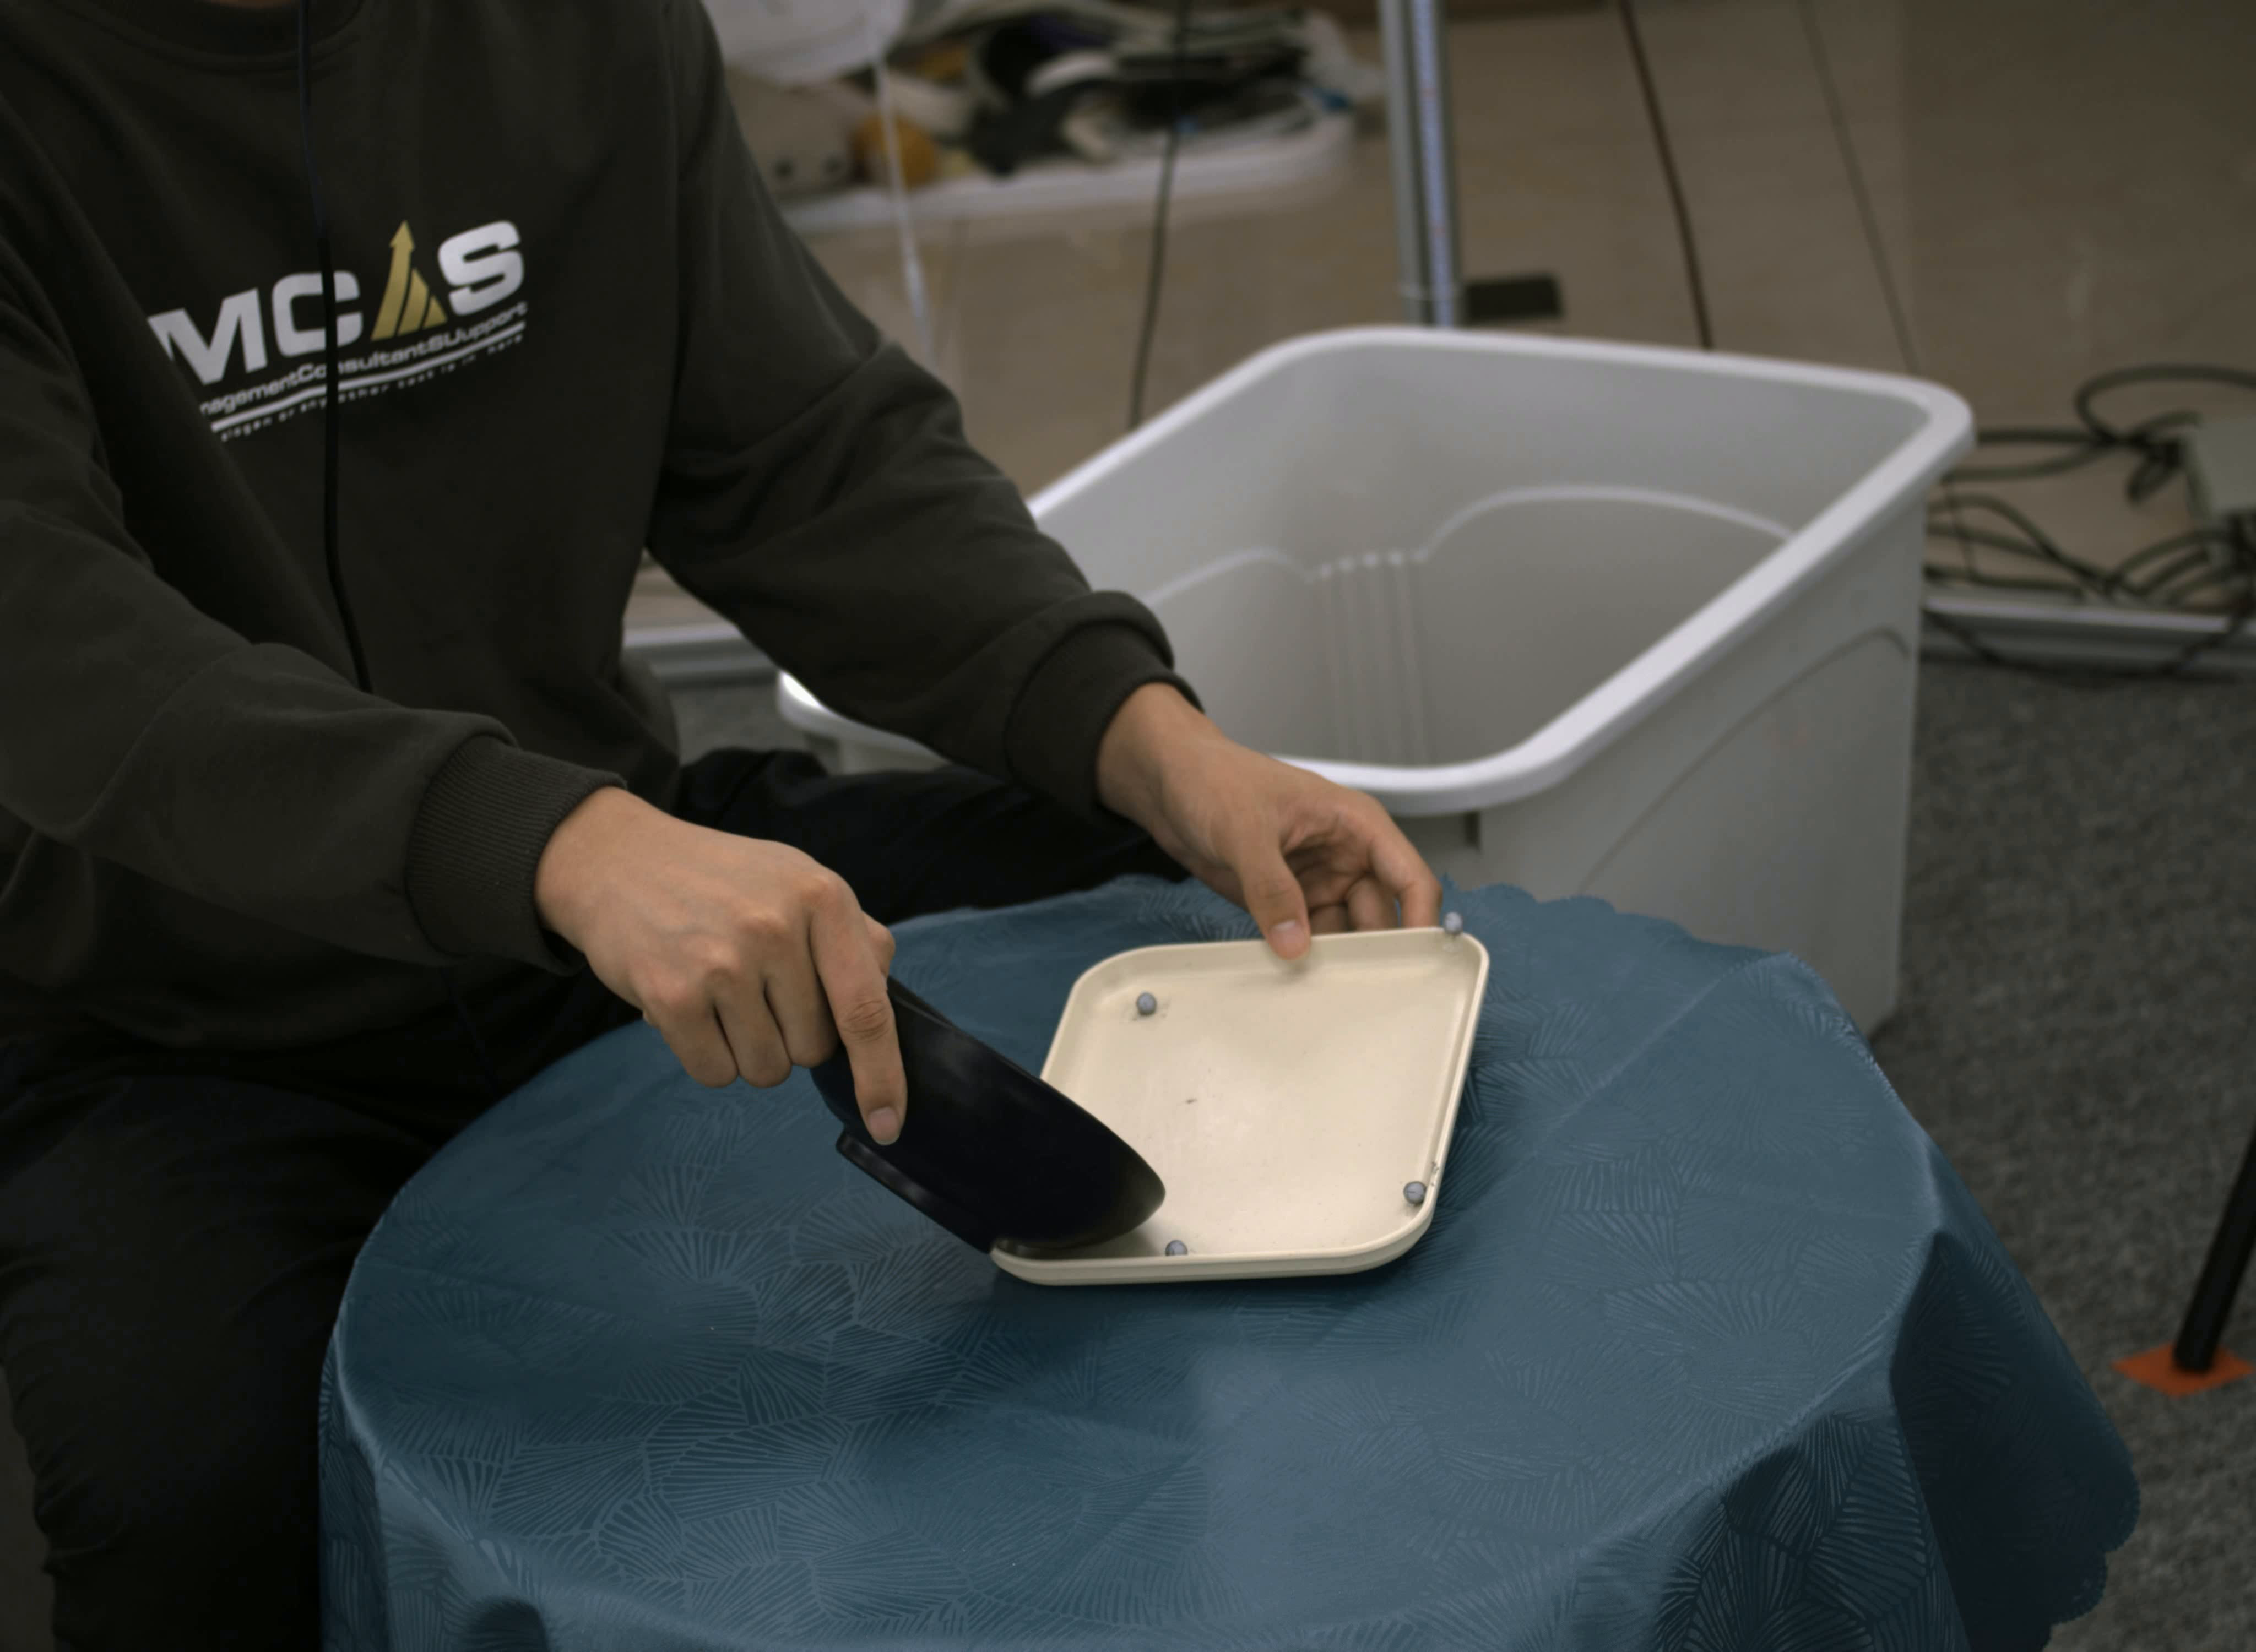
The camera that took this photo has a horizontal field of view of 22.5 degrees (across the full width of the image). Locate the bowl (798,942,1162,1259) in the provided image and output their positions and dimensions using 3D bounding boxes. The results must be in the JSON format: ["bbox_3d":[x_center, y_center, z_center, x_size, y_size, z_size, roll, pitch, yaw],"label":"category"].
[{"bbox_3d":[-0.064,0.111,2.066,0.066,0.172,0.136,-53,39,-3],"label":"bowl"}]

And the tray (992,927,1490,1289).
[{"bbox_3d":[0.046,0.107,2.163,0.171,0.018,0.236,-5,28,14],"label":"tray"}]
